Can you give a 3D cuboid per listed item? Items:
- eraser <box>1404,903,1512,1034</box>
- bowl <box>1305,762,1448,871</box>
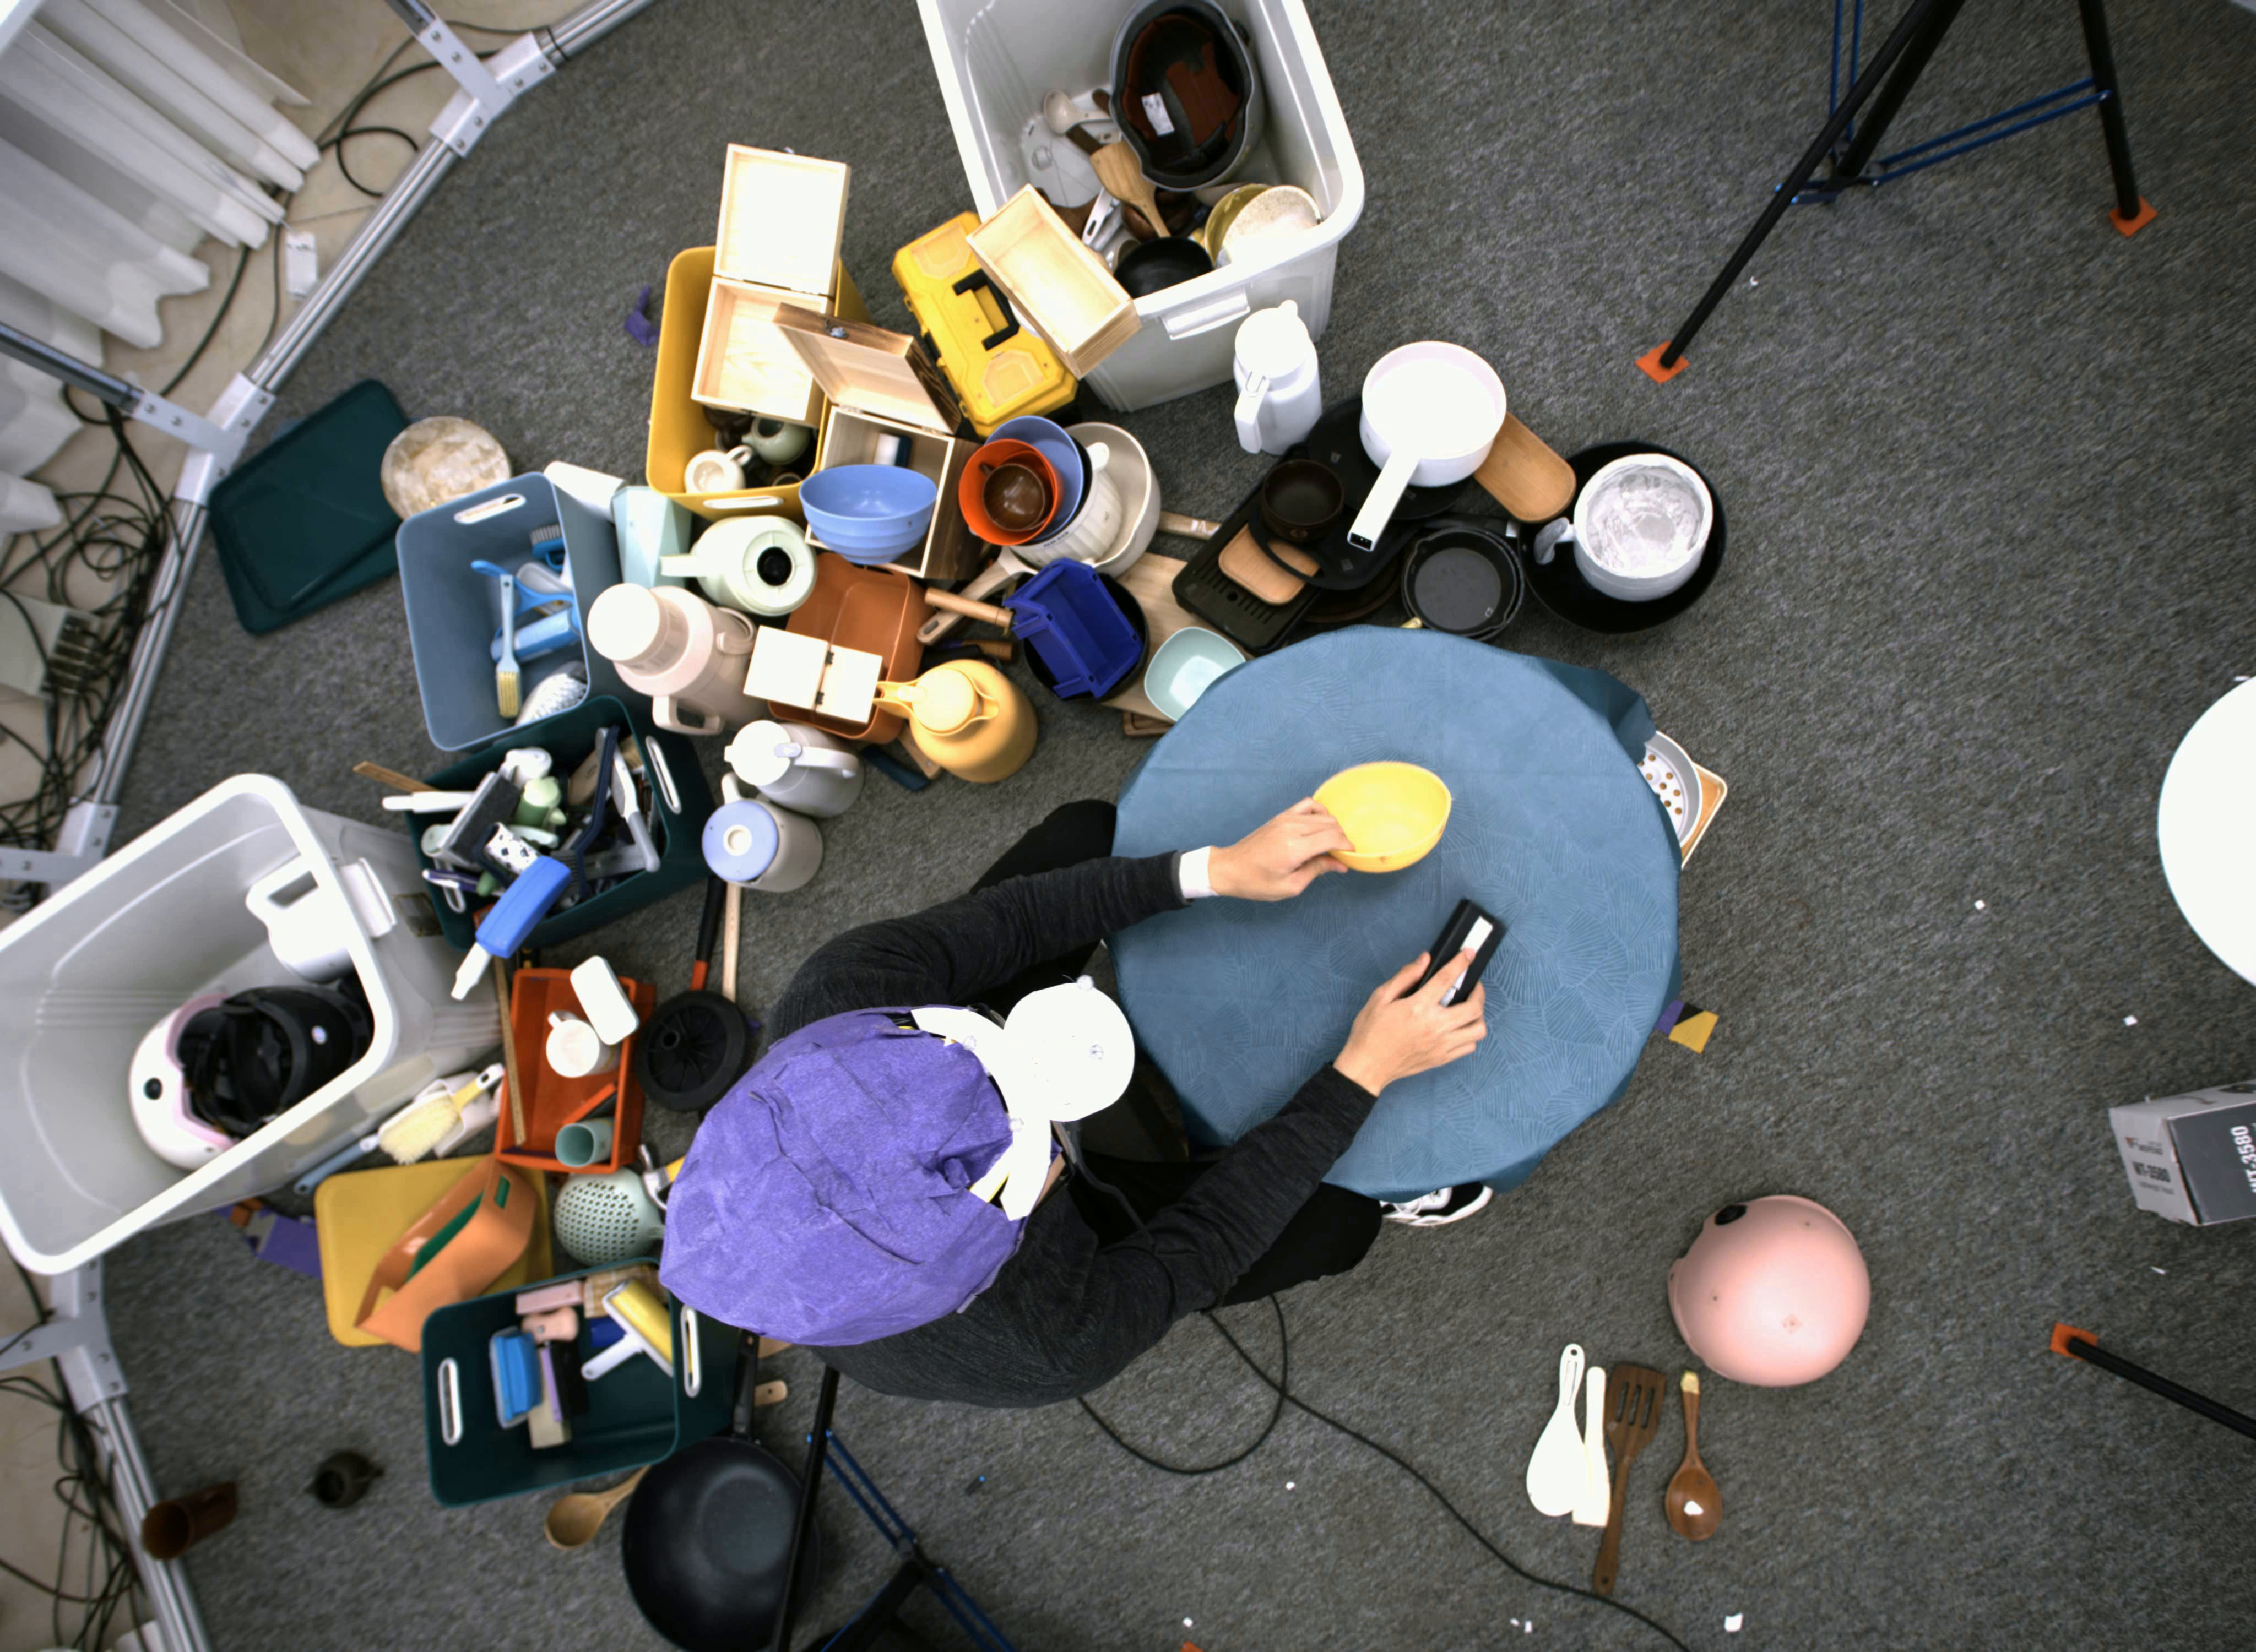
[{"bbox_3d":[0.332,0.141,1.390,0.053,0.030,0.125,32,87,1],"label":"eraser"},{"bbox_3d":[0.256,0.000,1.408,0.146,0.061,0.141,-11,41,9],"label":"bowl"}]
